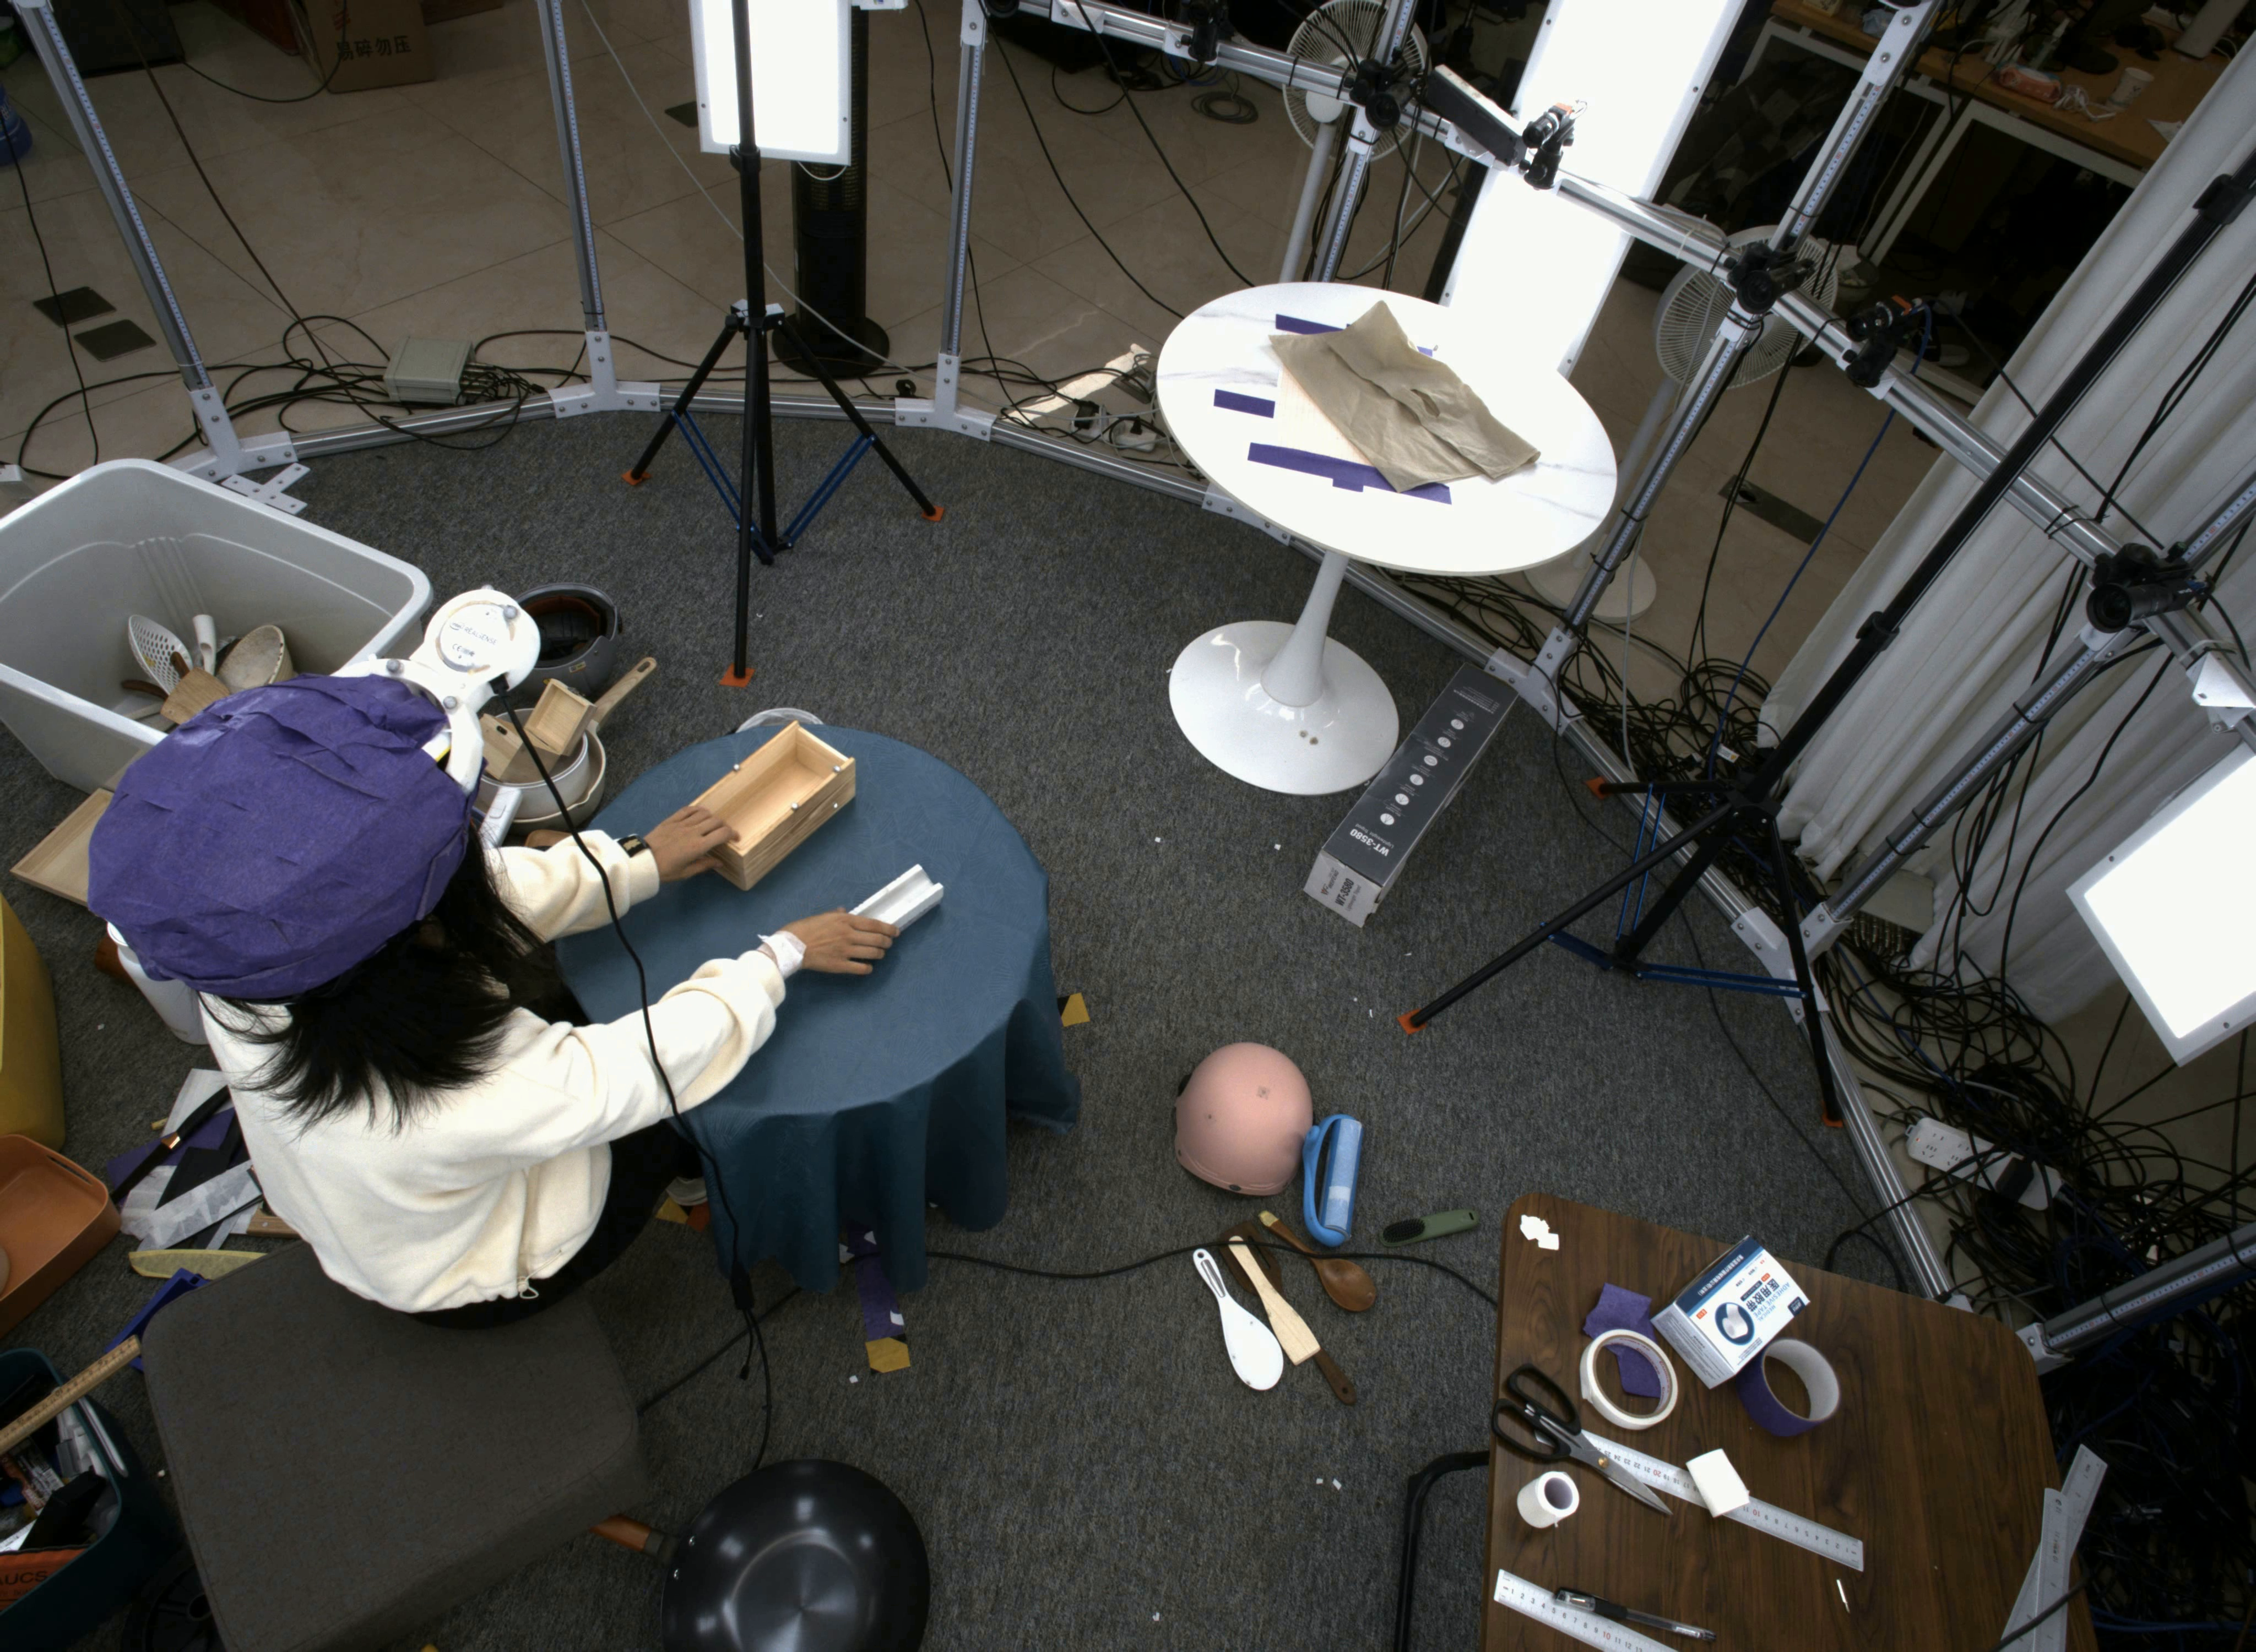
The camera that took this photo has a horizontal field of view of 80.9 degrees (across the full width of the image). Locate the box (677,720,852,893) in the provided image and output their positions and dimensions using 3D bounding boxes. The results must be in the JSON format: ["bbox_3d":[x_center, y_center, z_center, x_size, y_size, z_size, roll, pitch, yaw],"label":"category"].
[{"bbox_3d":[-0.467,-0.029,1.678,0.105,0.082,0.211,32,52,12],"label":"box"}]

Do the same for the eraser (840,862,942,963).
[{"bbox_3d":[-0.299,0.107,1.641,0.049,0.047,0.134,38,52,14],"label":"eraser"}]
